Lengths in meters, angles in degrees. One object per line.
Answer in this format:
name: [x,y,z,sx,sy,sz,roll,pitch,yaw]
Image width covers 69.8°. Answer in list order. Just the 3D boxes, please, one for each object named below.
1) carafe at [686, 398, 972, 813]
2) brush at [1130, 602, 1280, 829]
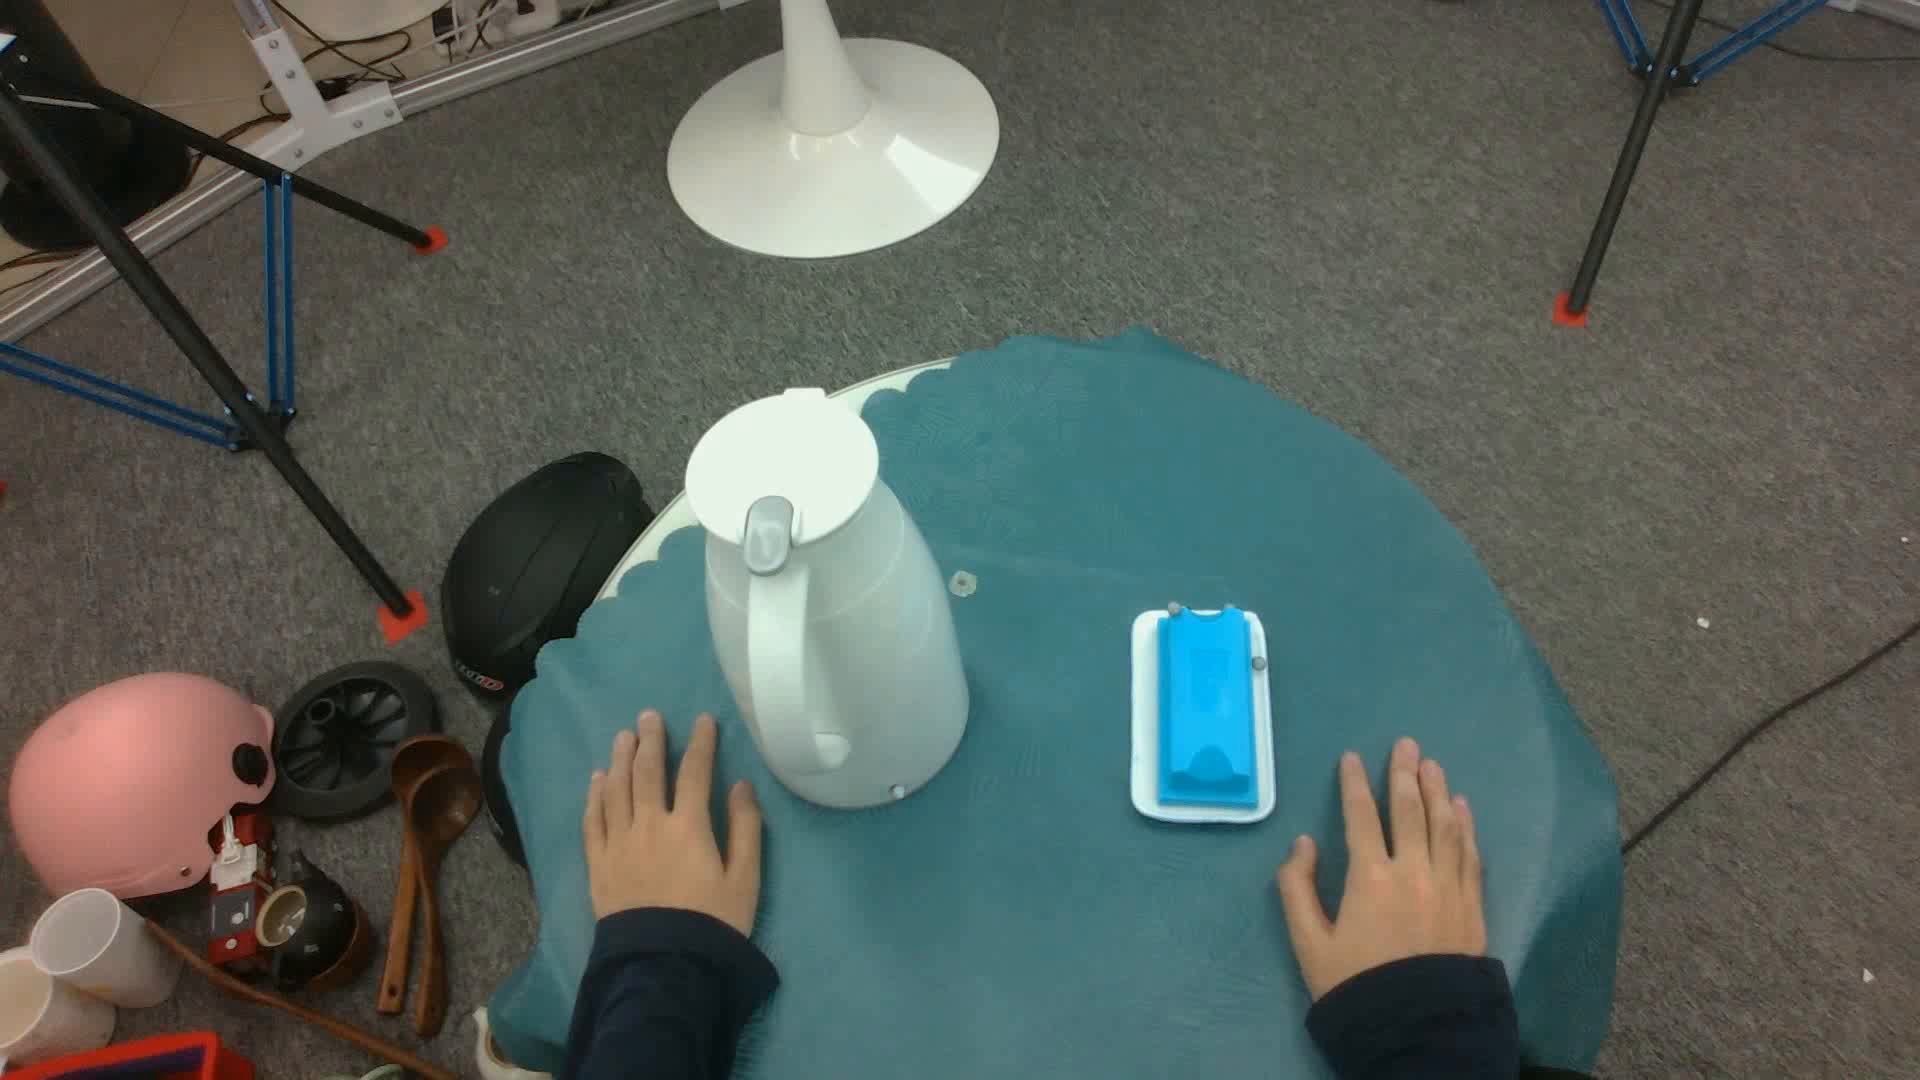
carafe: [-0.071,0.052,0.736,0.132,0.247,0.168,-4,55,5]
brush: [0.141,0.093,0.795,0.084,0.055,0.144,0,52,11]
